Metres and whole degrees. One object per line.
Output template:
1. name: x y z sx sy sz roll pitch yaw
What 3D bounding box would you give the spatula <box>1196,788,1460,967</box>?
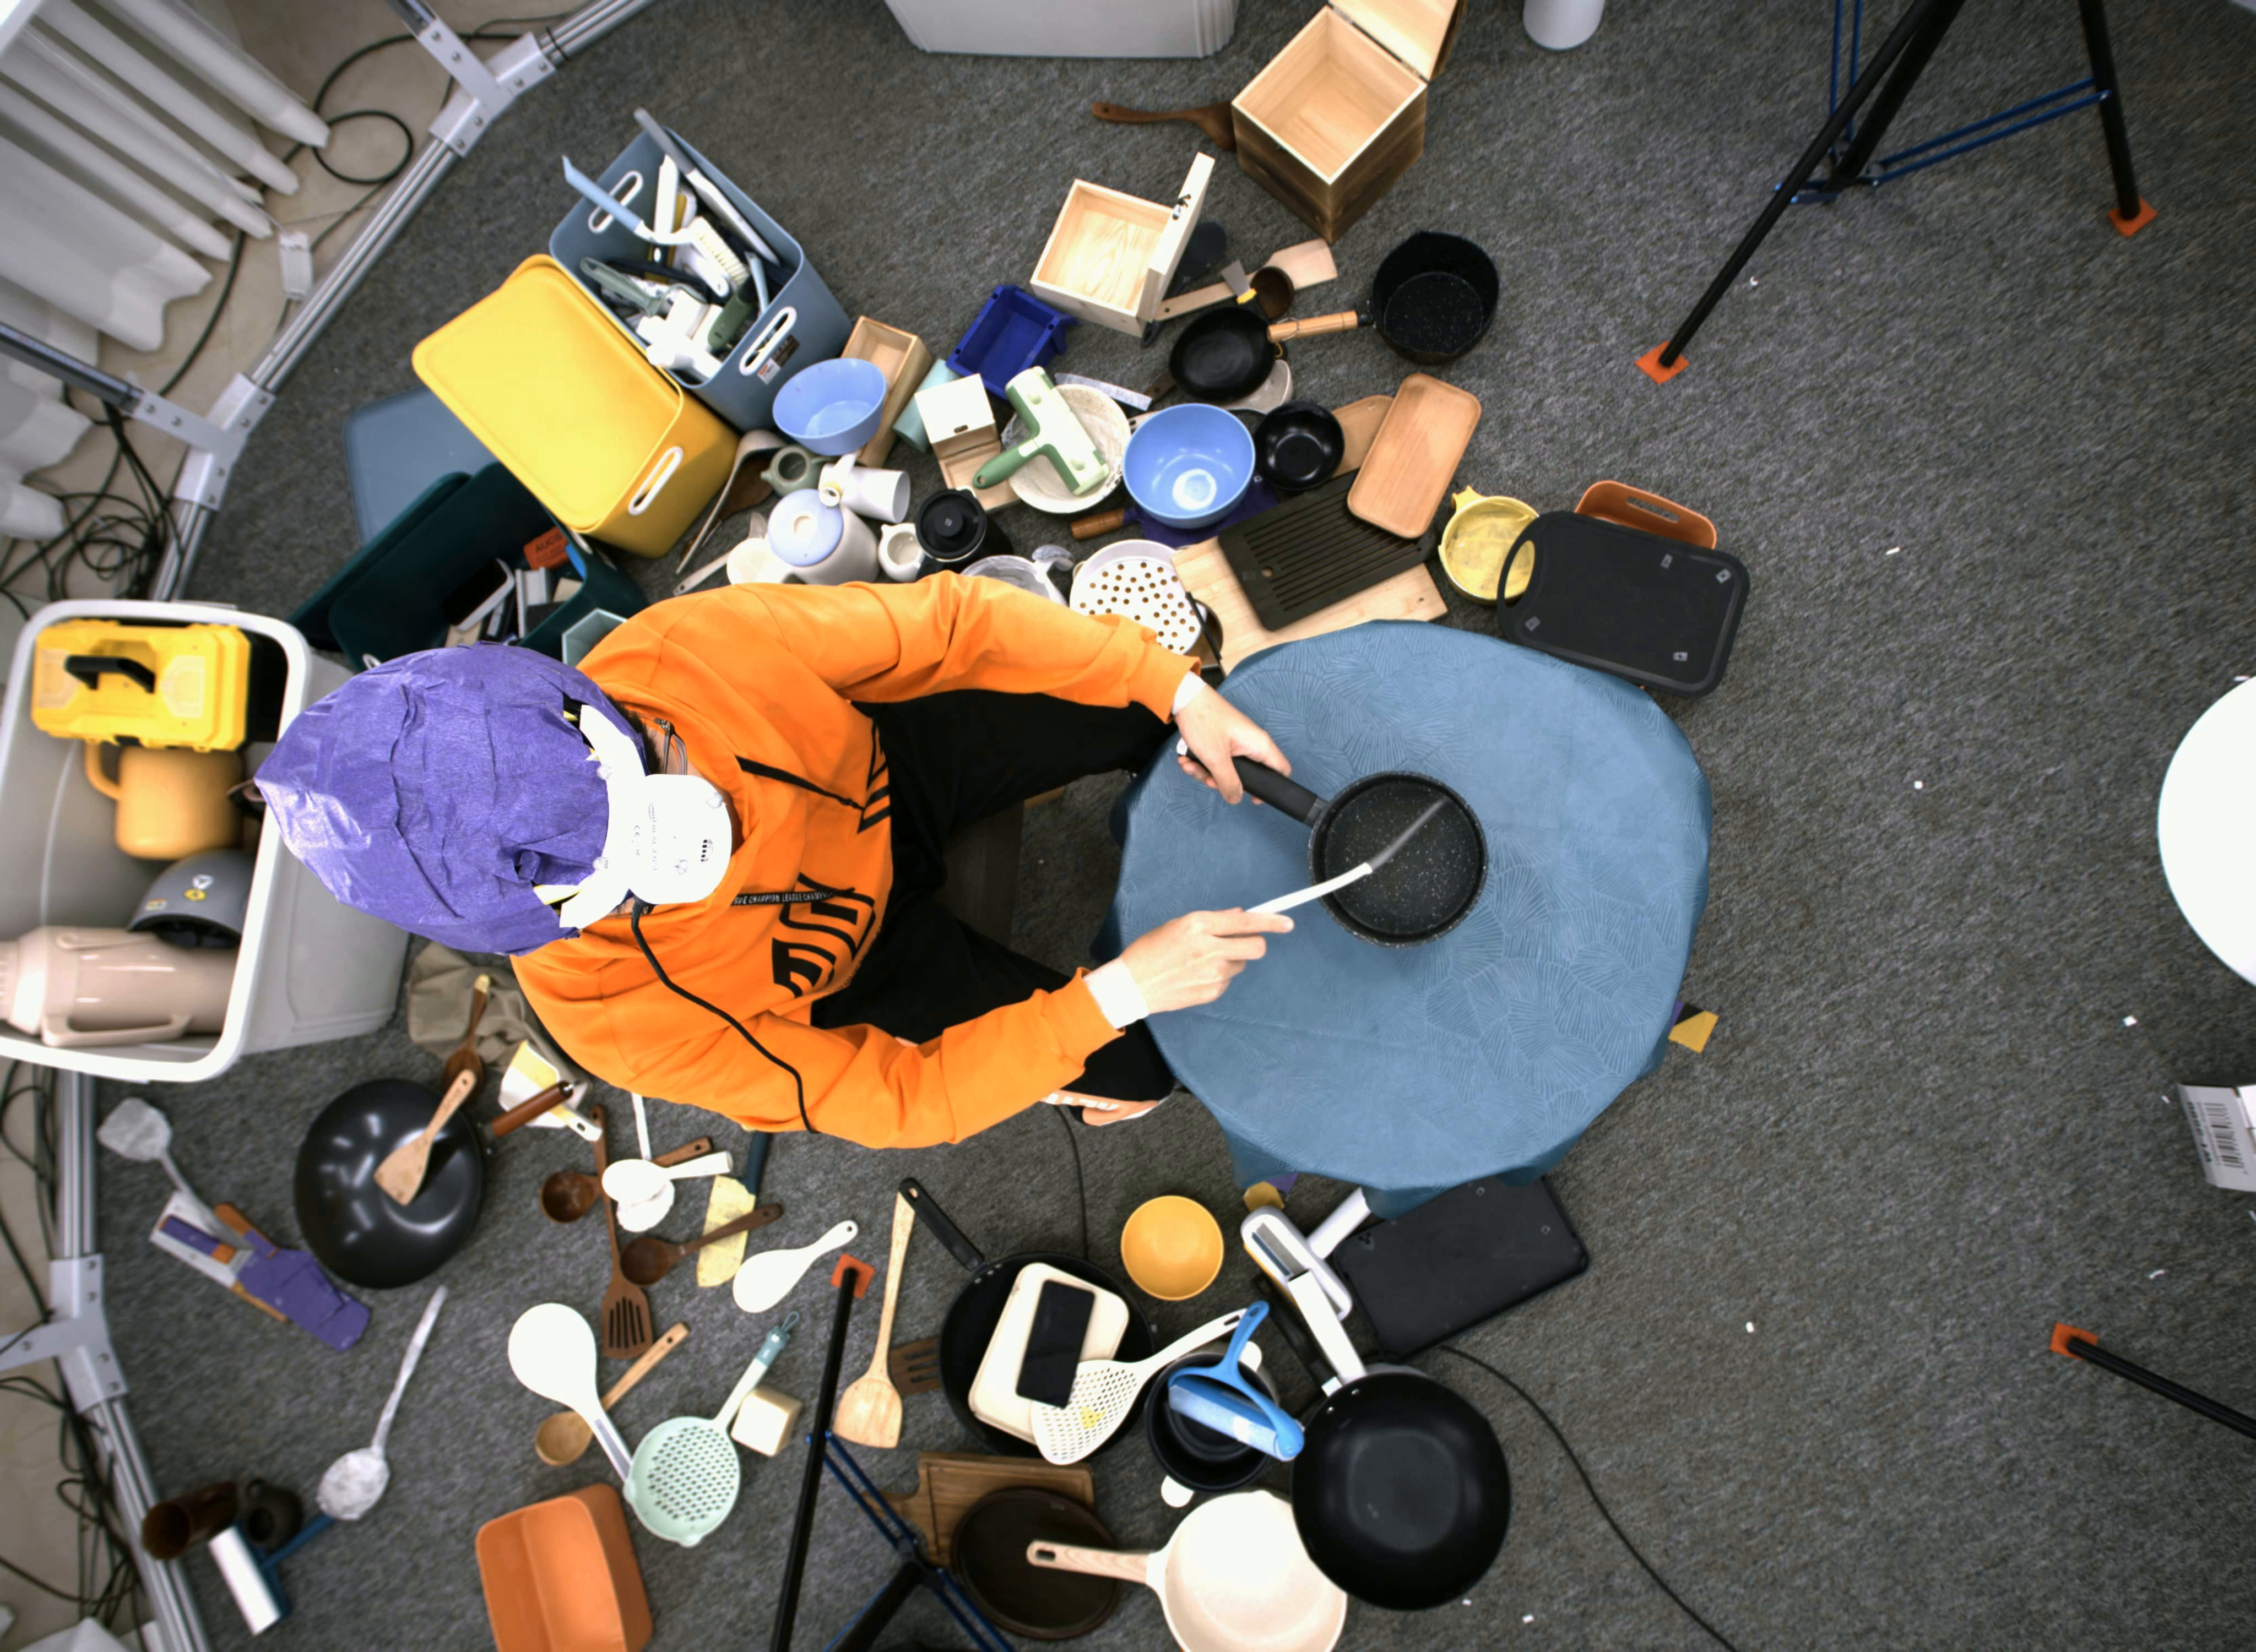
1. spatula: 0.195 0.048 1.311 0.288 0.059 0.032 -31 73 1

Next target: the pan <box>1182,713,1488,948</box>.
1. pan: 0.201 -0.010 1.372 0.328 0.086 0.173 33 98 10
